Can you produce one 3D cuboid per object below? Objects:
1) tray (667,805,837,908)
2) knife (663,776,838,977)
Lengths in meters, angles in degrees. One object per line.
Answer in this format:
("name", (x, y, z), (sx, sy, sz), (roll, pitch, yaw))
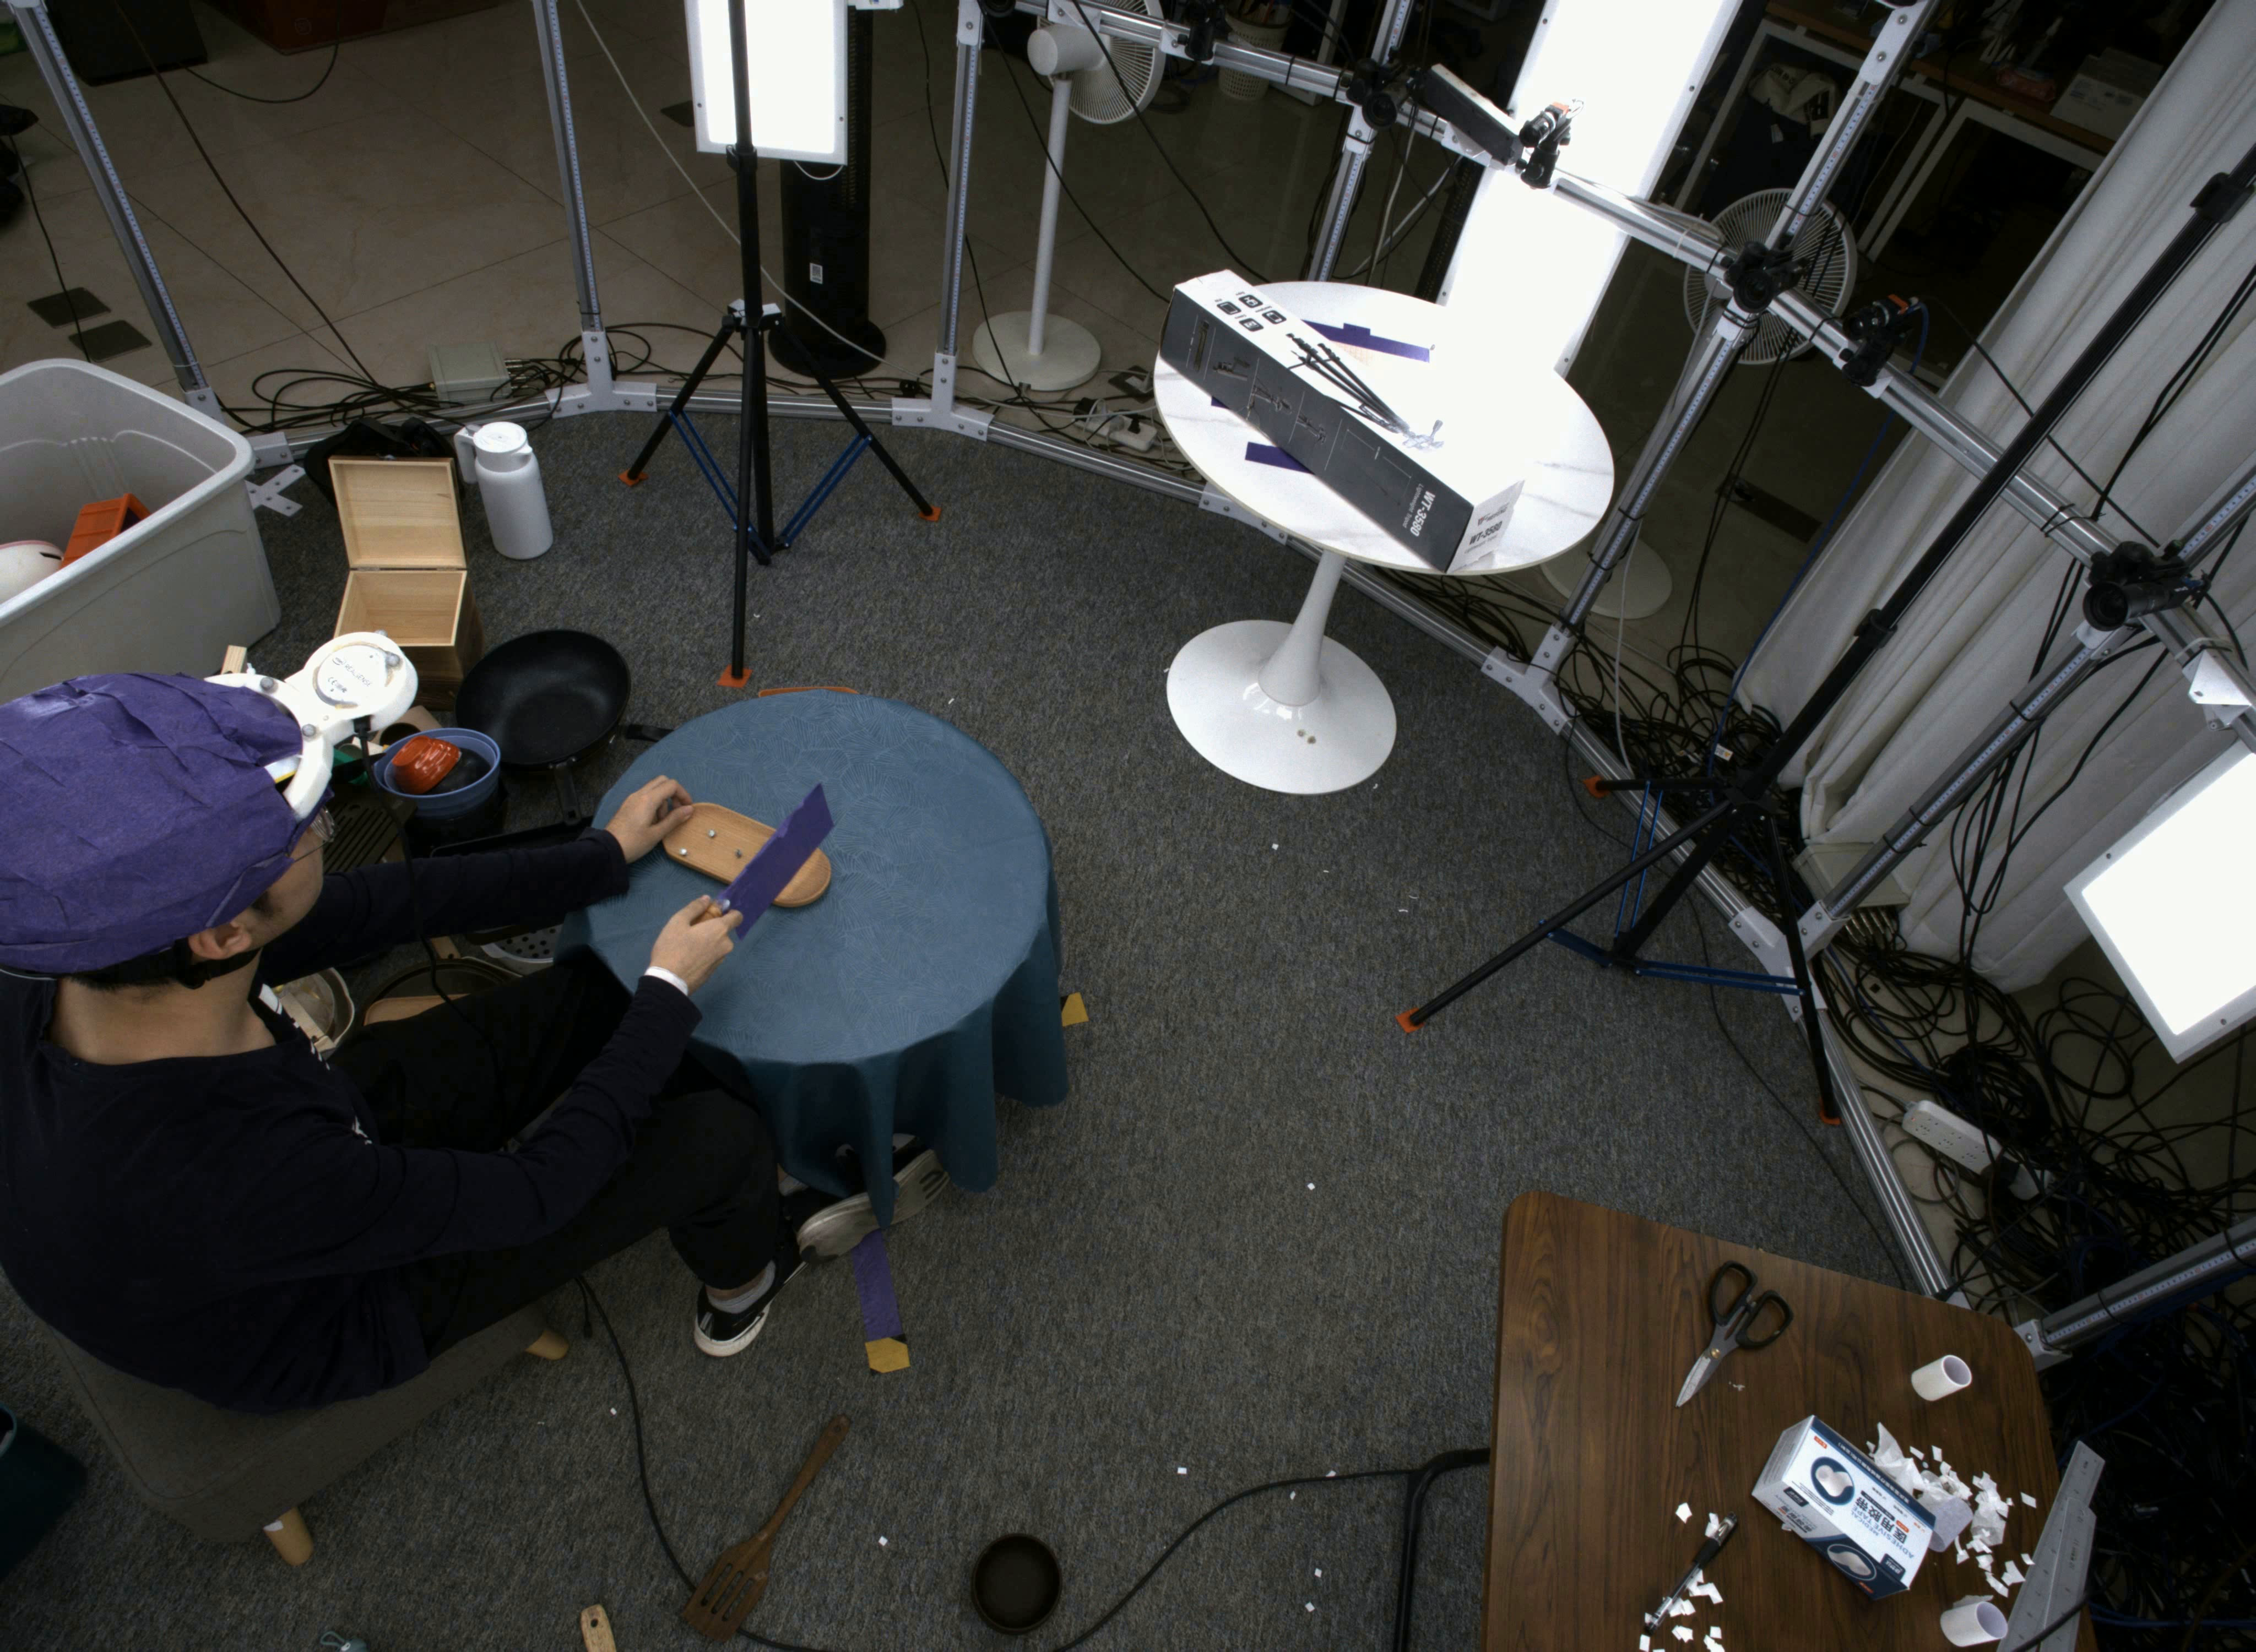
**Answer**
("tray", (-0.489, 0.038, 1.680), (0.229, 0.020, 0.101), (22, 52, 0))
("knife", (-0.449, 0.076, 1.585), (0.031, 0.107, 0.314), (20, 53, 20))
